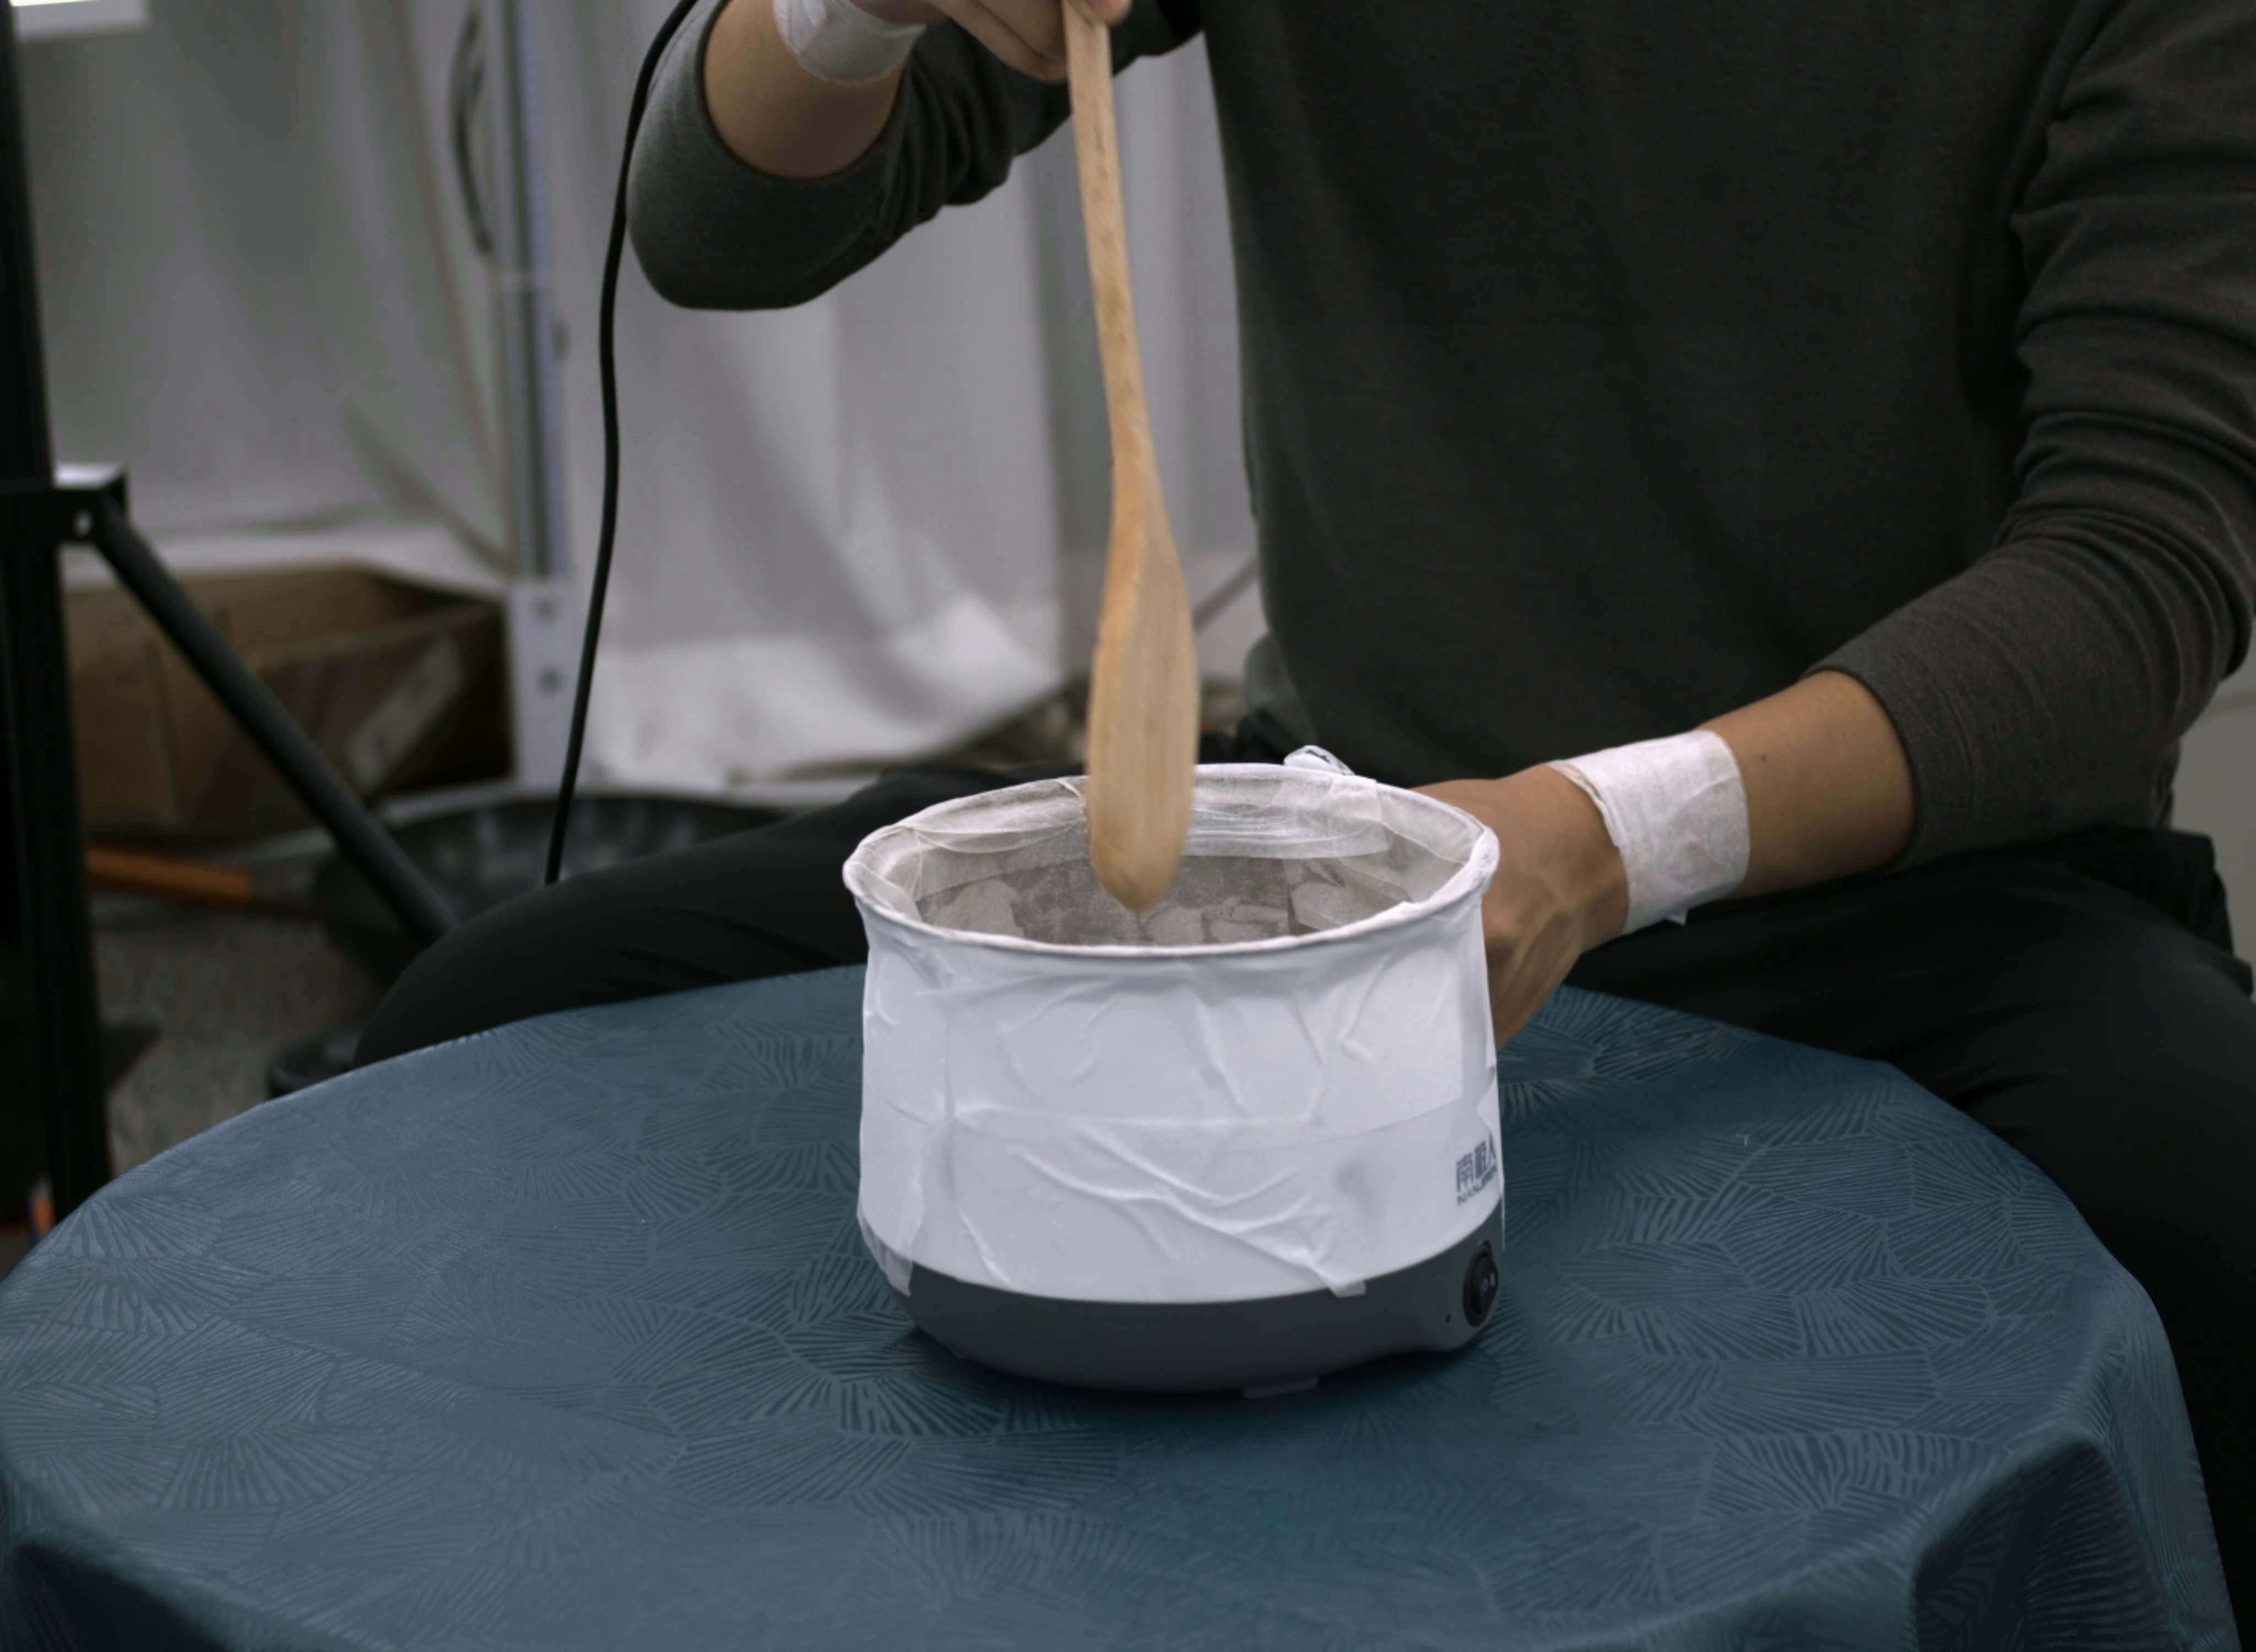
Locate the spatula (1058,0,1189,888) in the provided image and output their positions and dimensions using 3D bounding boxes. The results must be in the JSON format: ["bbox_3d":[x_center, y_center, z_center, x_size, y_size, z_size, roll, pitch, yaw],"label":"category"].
[{"bbox_3d":[-0.008,-0.179,1.446,0.018,0.393,0.094,-5,-2,14],"label":"spatula"}]

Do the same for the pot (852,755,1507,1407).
[{"bbox_3d":[0.026,0.064,1.471,0.181,0.136,0.230,4,16,24],"label":"pot"}]
